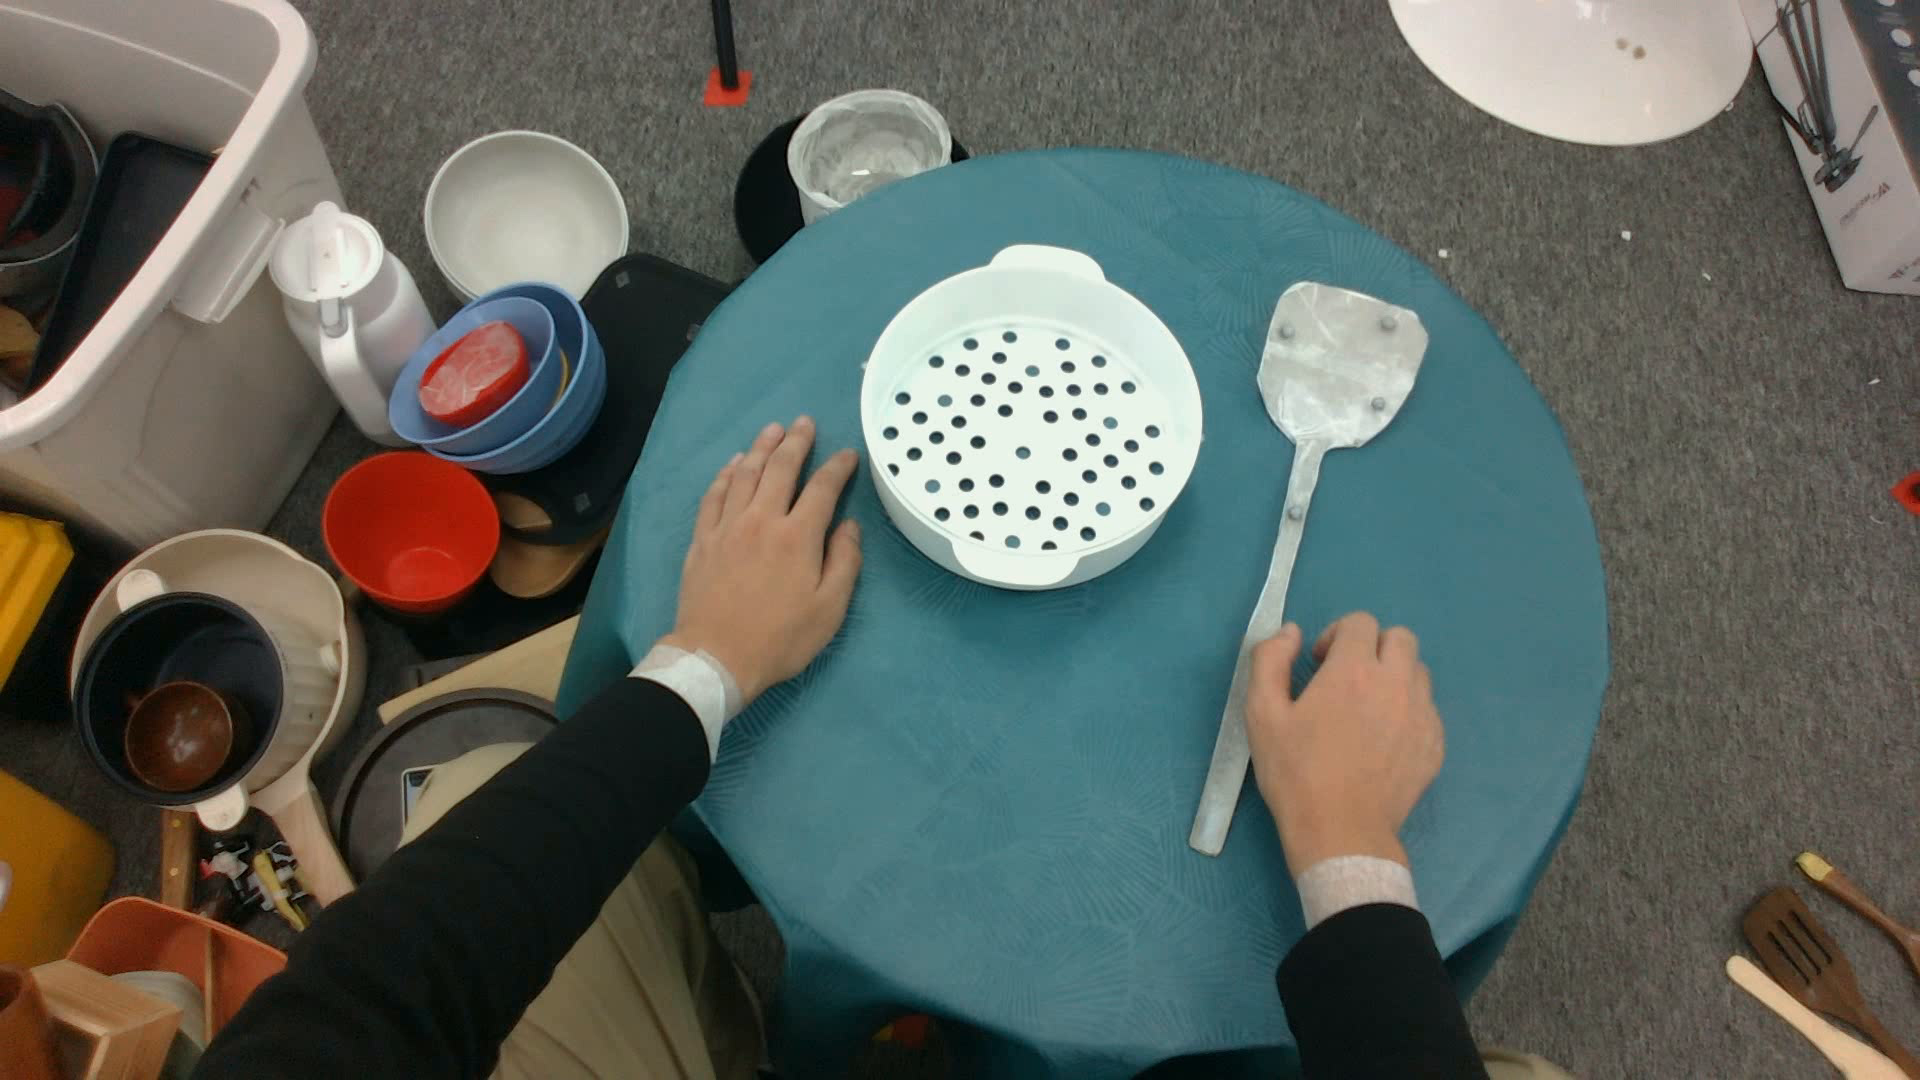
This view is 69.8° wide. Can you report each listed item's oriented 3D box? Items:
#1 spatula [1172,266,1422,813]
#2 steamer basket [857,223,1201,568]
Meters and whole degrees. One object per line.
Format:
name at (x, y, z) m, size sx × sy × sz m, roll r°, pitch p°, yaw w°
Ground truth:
spatula at (0.192, -0.006, 0.825) m, size 0.098 × 0.044 × 0.366 m, roll 20°, pitch 65°, yaw 3°
steamer basket at (0.040, -0.081, 0.832) m, size 0.202 × 0.069 × 0.231 m, roll 8°, pitch 65°, yaw 1°
